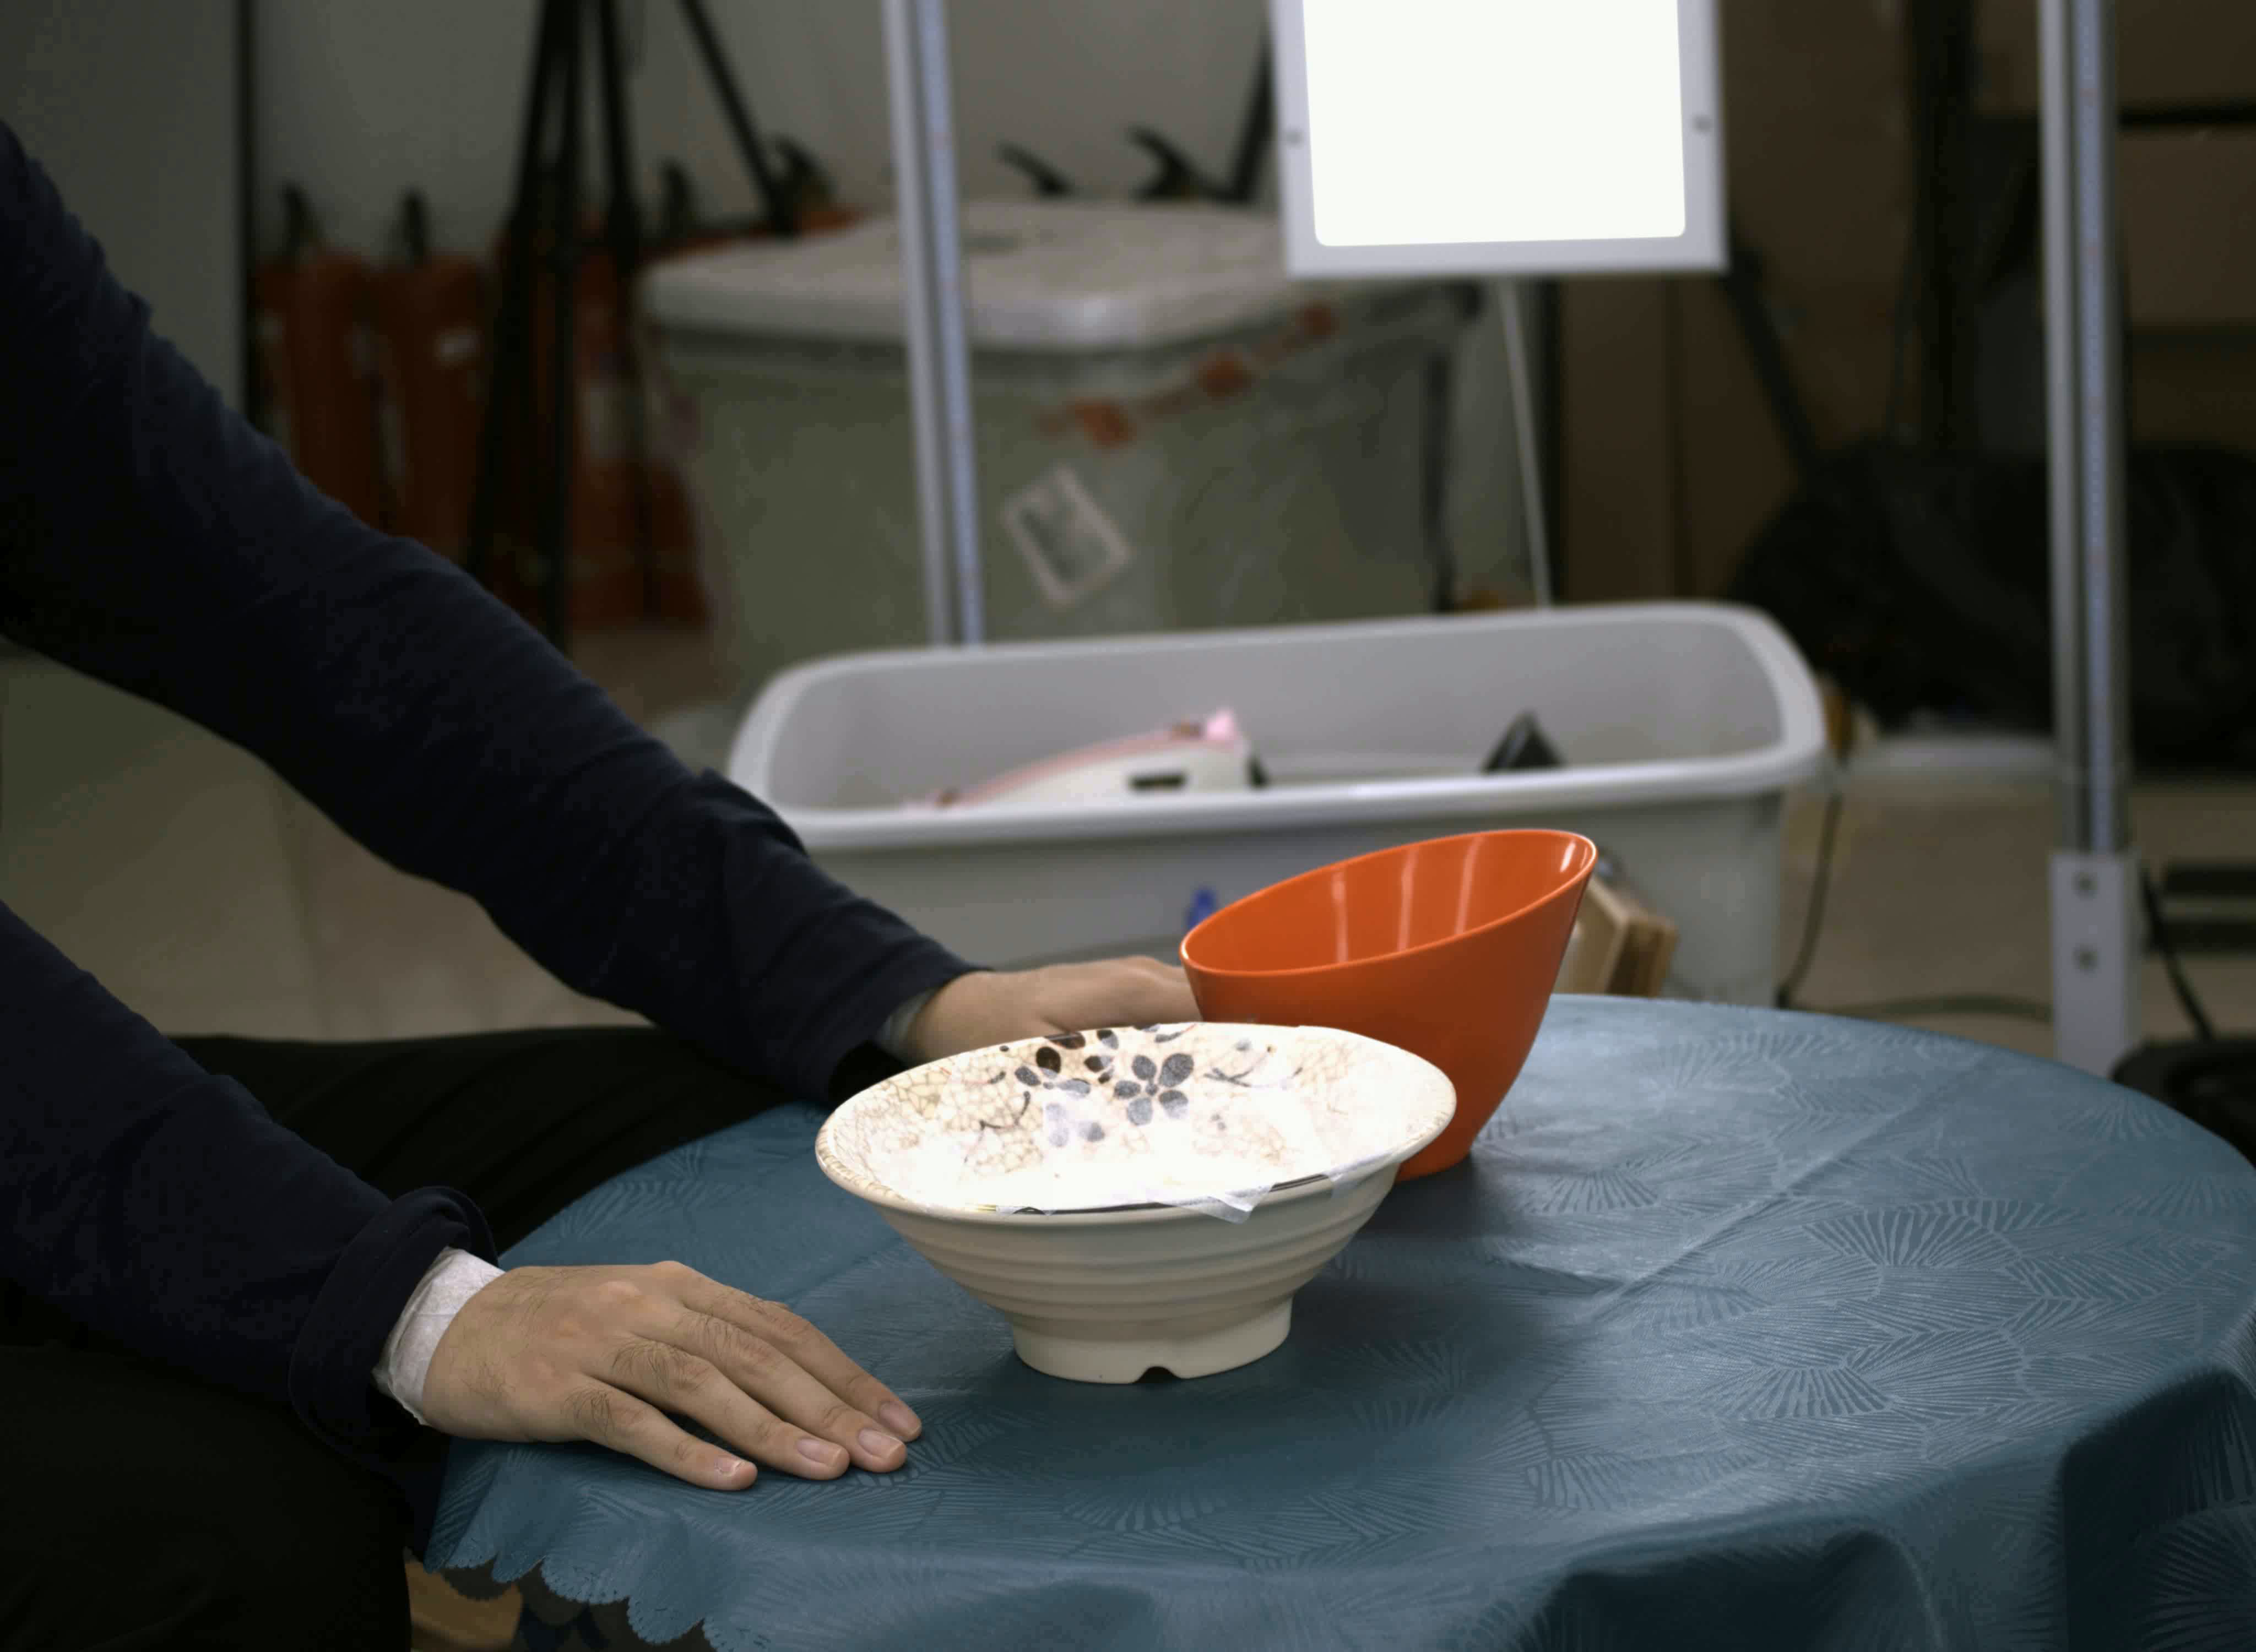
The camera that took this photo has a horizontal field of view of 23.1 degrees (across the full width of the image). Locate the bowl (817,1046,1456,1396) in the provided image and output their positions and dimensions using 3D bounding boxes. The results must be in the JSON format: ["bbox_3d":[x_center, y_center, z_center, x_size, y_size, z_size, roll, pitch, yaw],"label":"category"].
[{"bbox_3d":[0.007,0.130,1.738,0.203,0.078,0.204,-8,10,0],"label":"bowl"}]

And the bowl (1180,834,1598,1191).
[{"bbox_3d":[0.094,0.067,1.905,0.148,0.105,0.148,-7,13,0],"label":"bowl"}]
